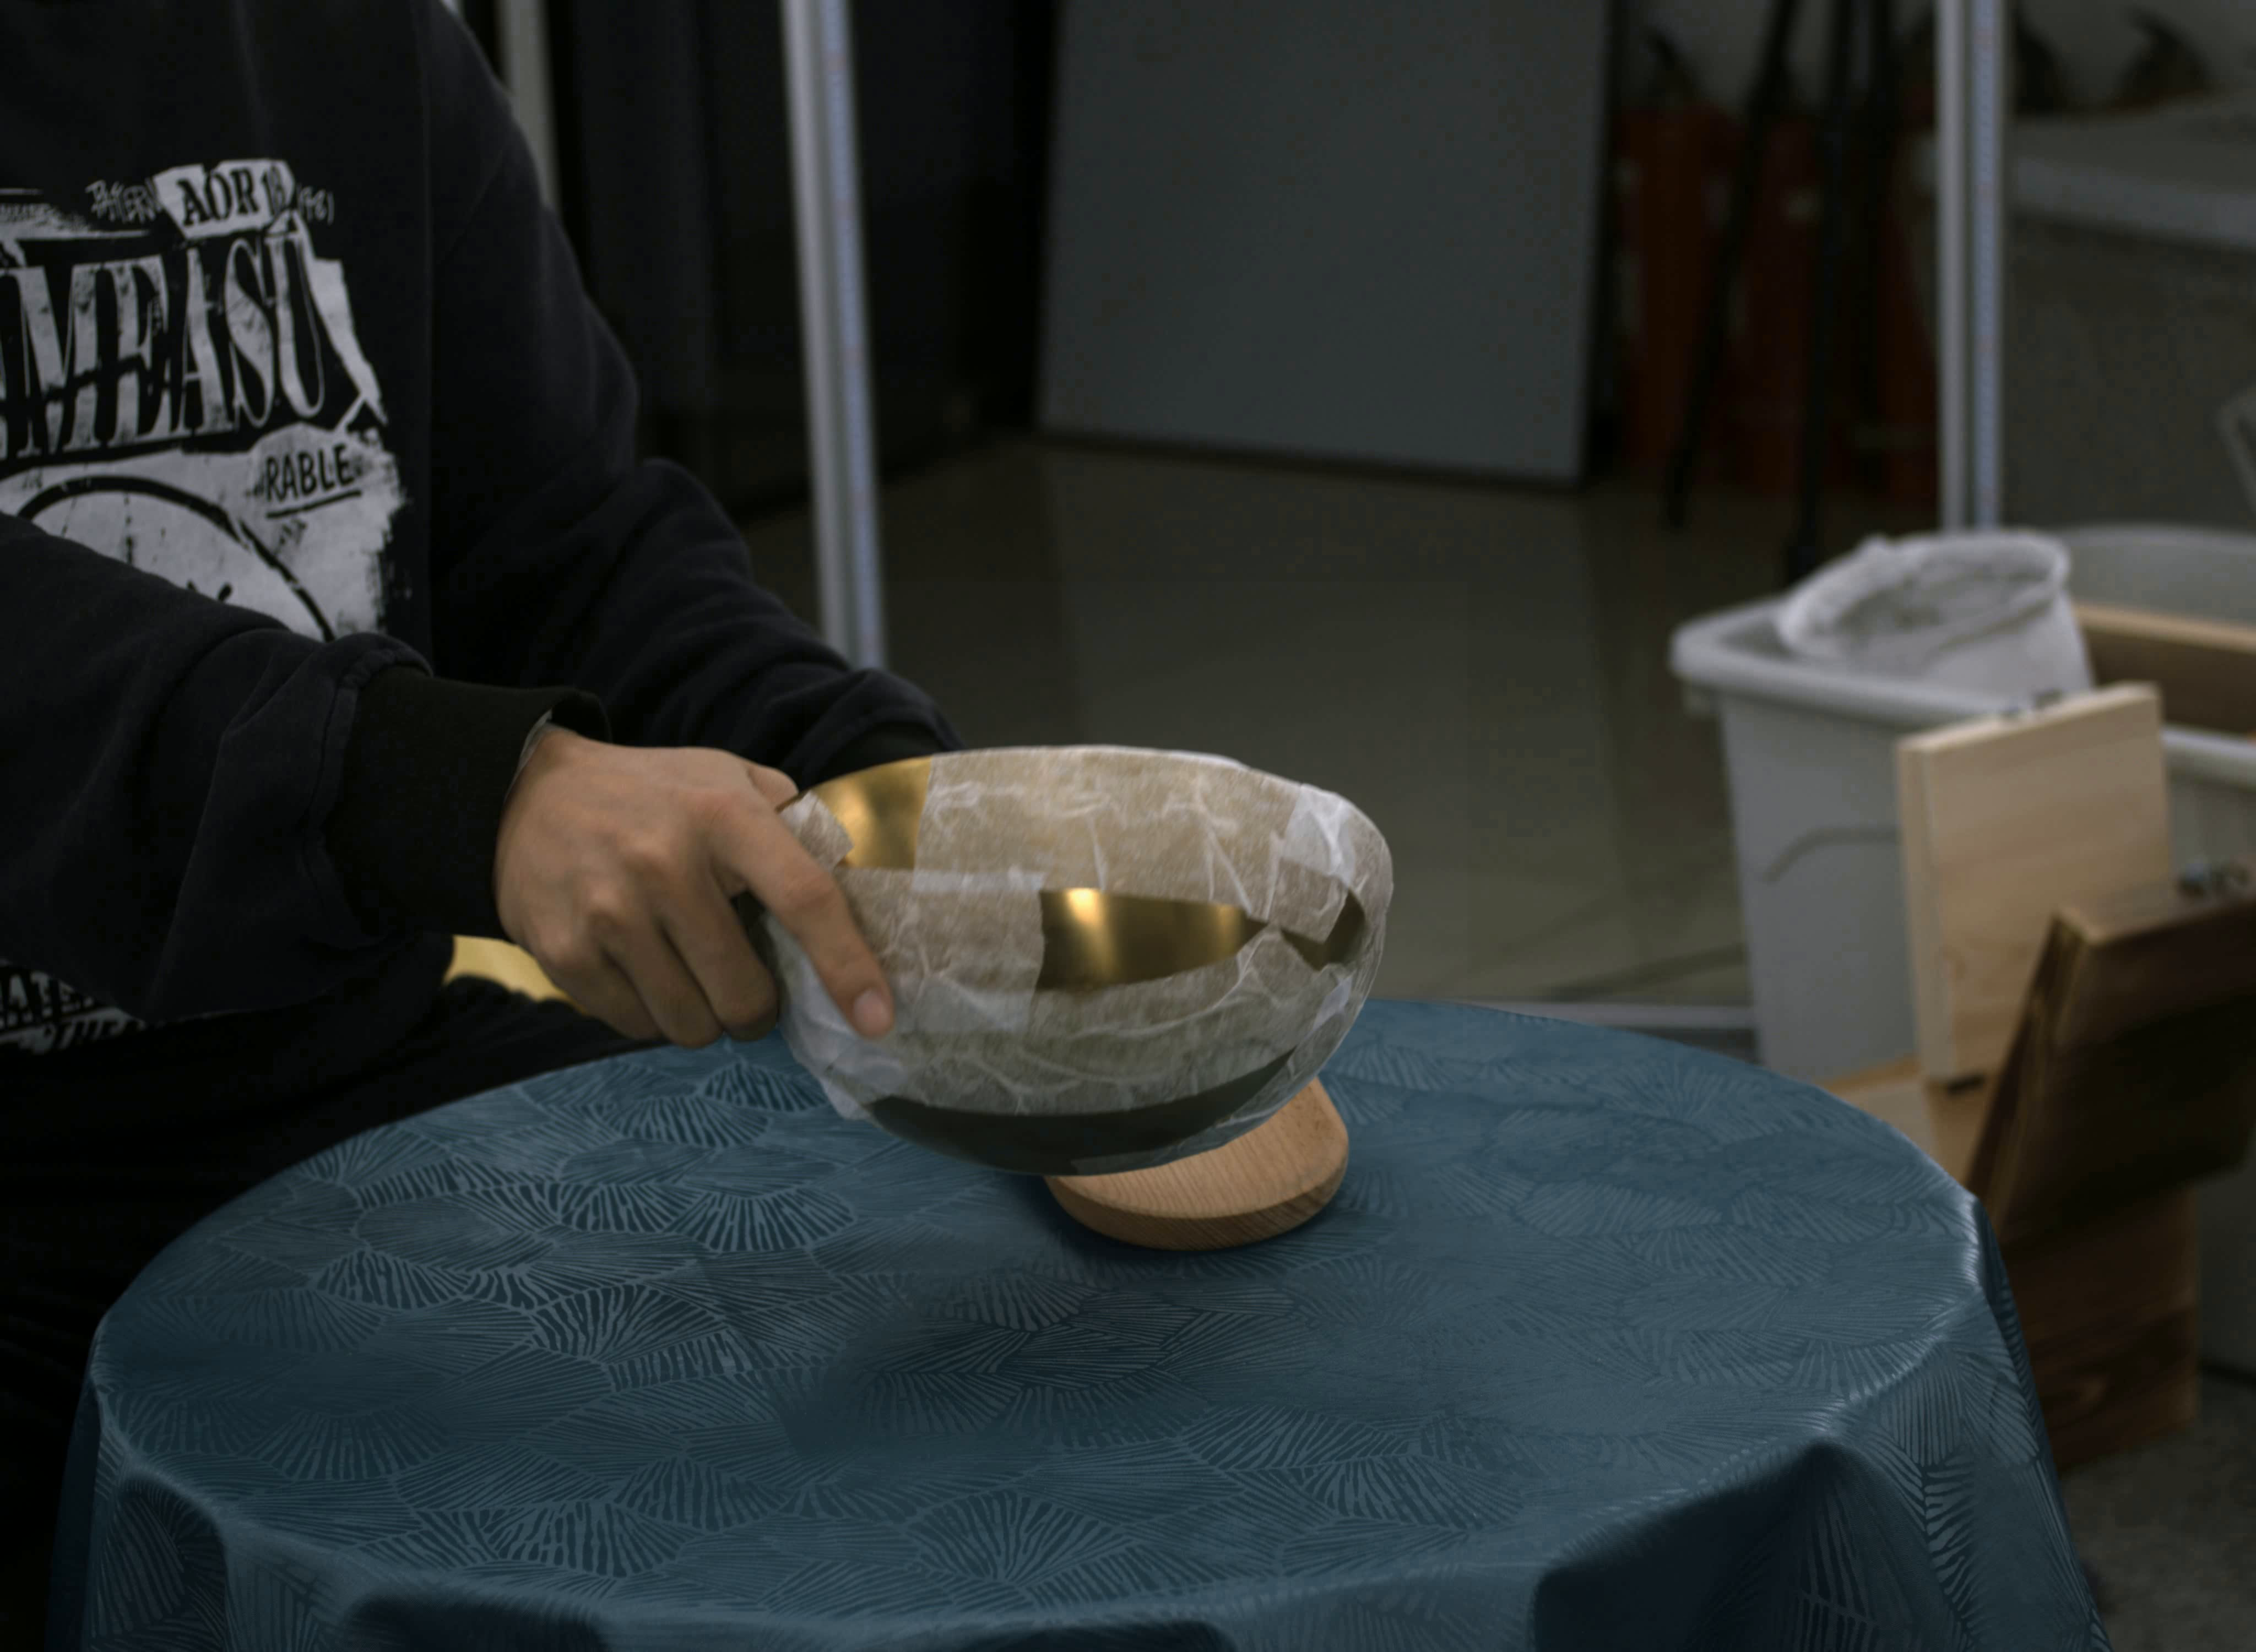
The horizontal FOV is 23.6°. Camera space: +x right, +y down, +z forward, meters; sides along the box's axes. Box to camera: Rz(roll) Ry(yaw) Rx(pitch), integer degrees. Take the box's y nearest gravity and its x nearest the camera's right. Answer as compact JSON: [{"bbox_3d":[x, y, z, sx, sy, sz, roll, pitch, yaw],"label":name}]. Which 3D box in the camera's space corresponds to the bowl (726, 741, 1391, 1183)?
[{"bbox_3d":[-0.020,0.054,1.619,0.212,0.096,0.215,0,-20,-1],"label":"bowl"}]

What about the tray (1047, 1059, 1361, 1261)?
[{"bbox_3d":[0.008,0.082,1.801,0.100,0.020,0.233,-11,29,-11],"label":"tray"}]
